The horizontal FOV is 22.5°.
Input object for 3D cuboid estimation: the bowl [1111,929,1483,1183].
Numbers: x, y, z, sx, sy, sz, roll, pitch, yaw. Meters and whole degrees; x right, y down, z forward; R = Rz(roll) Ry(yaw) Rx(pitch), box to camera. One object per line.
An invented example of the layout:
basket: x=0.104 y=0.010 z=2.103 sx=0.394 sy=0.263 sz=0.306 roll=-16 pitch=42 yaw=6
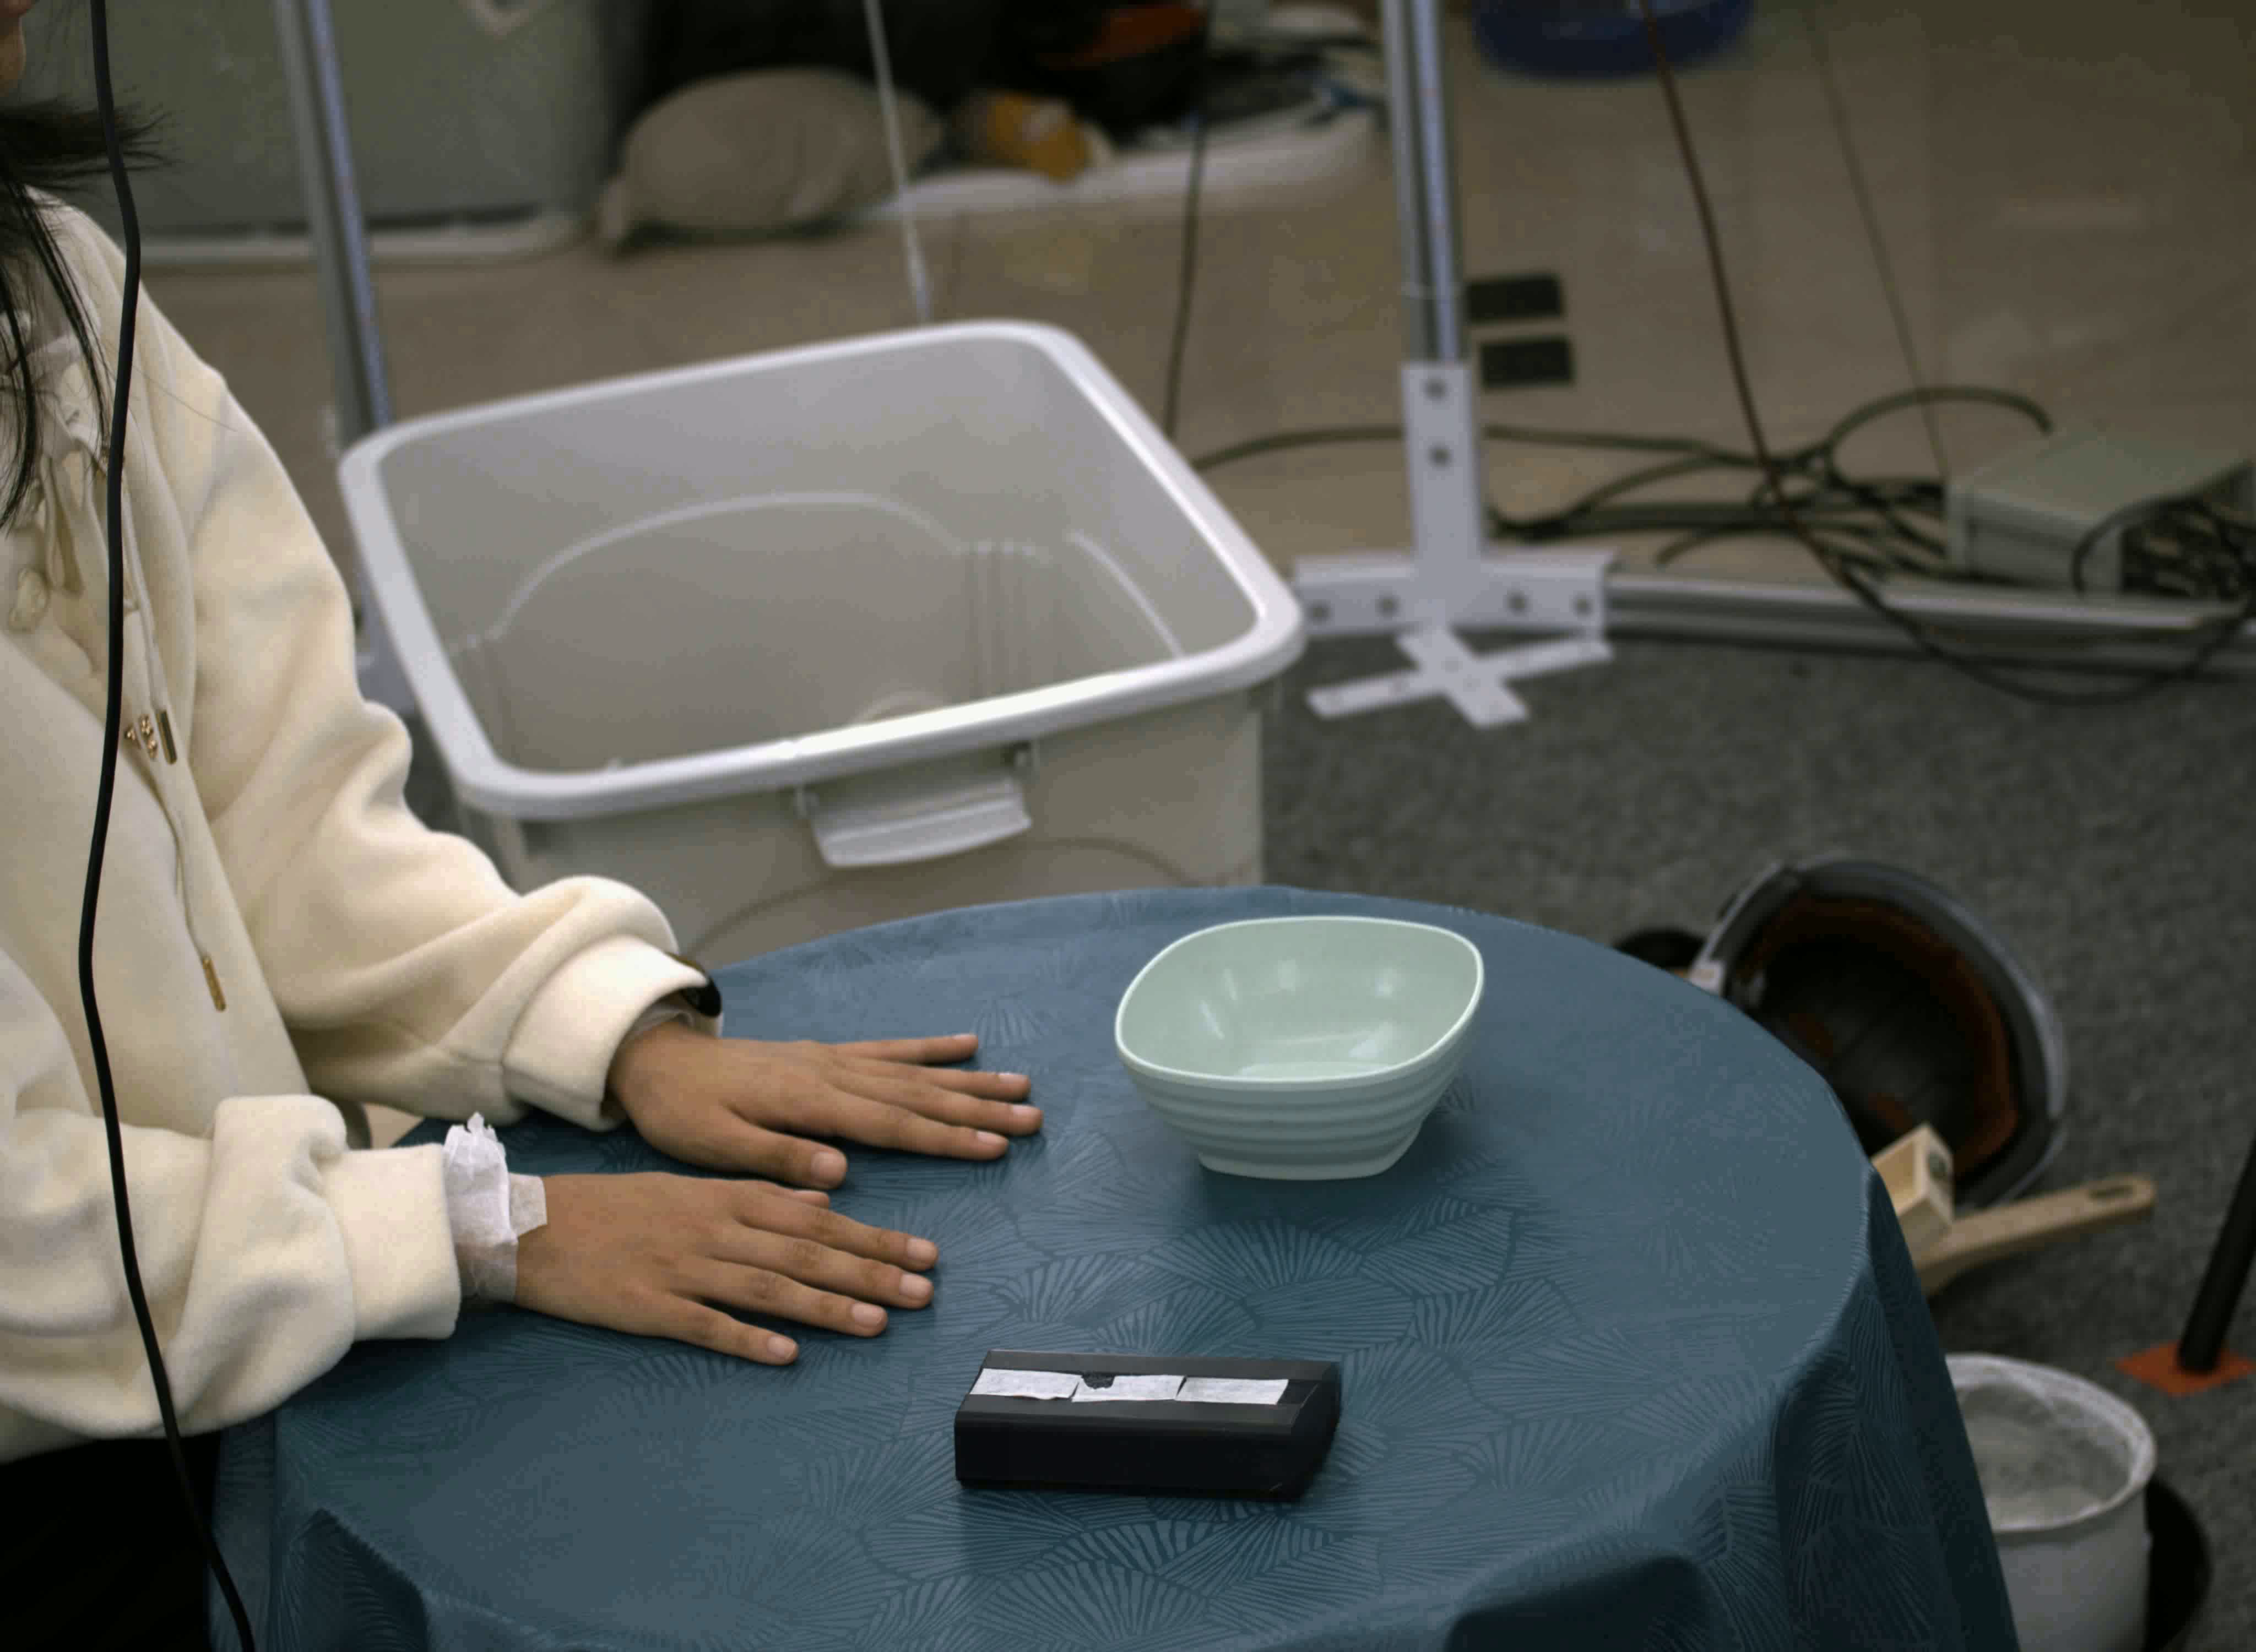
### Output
bowl: x=0.067 y=0.092 z=2.165 sx=0.151 sy=0.059 sz=0.149 roll=-4 pitch=23 yaw=2

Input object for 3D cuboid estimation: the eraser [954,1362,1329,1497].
eraser: x=0.006 y=0.209 z=1.966 sx=0.125 sy=0.031 sz=0.053 roll=-2 pitch=24 yaw=15
